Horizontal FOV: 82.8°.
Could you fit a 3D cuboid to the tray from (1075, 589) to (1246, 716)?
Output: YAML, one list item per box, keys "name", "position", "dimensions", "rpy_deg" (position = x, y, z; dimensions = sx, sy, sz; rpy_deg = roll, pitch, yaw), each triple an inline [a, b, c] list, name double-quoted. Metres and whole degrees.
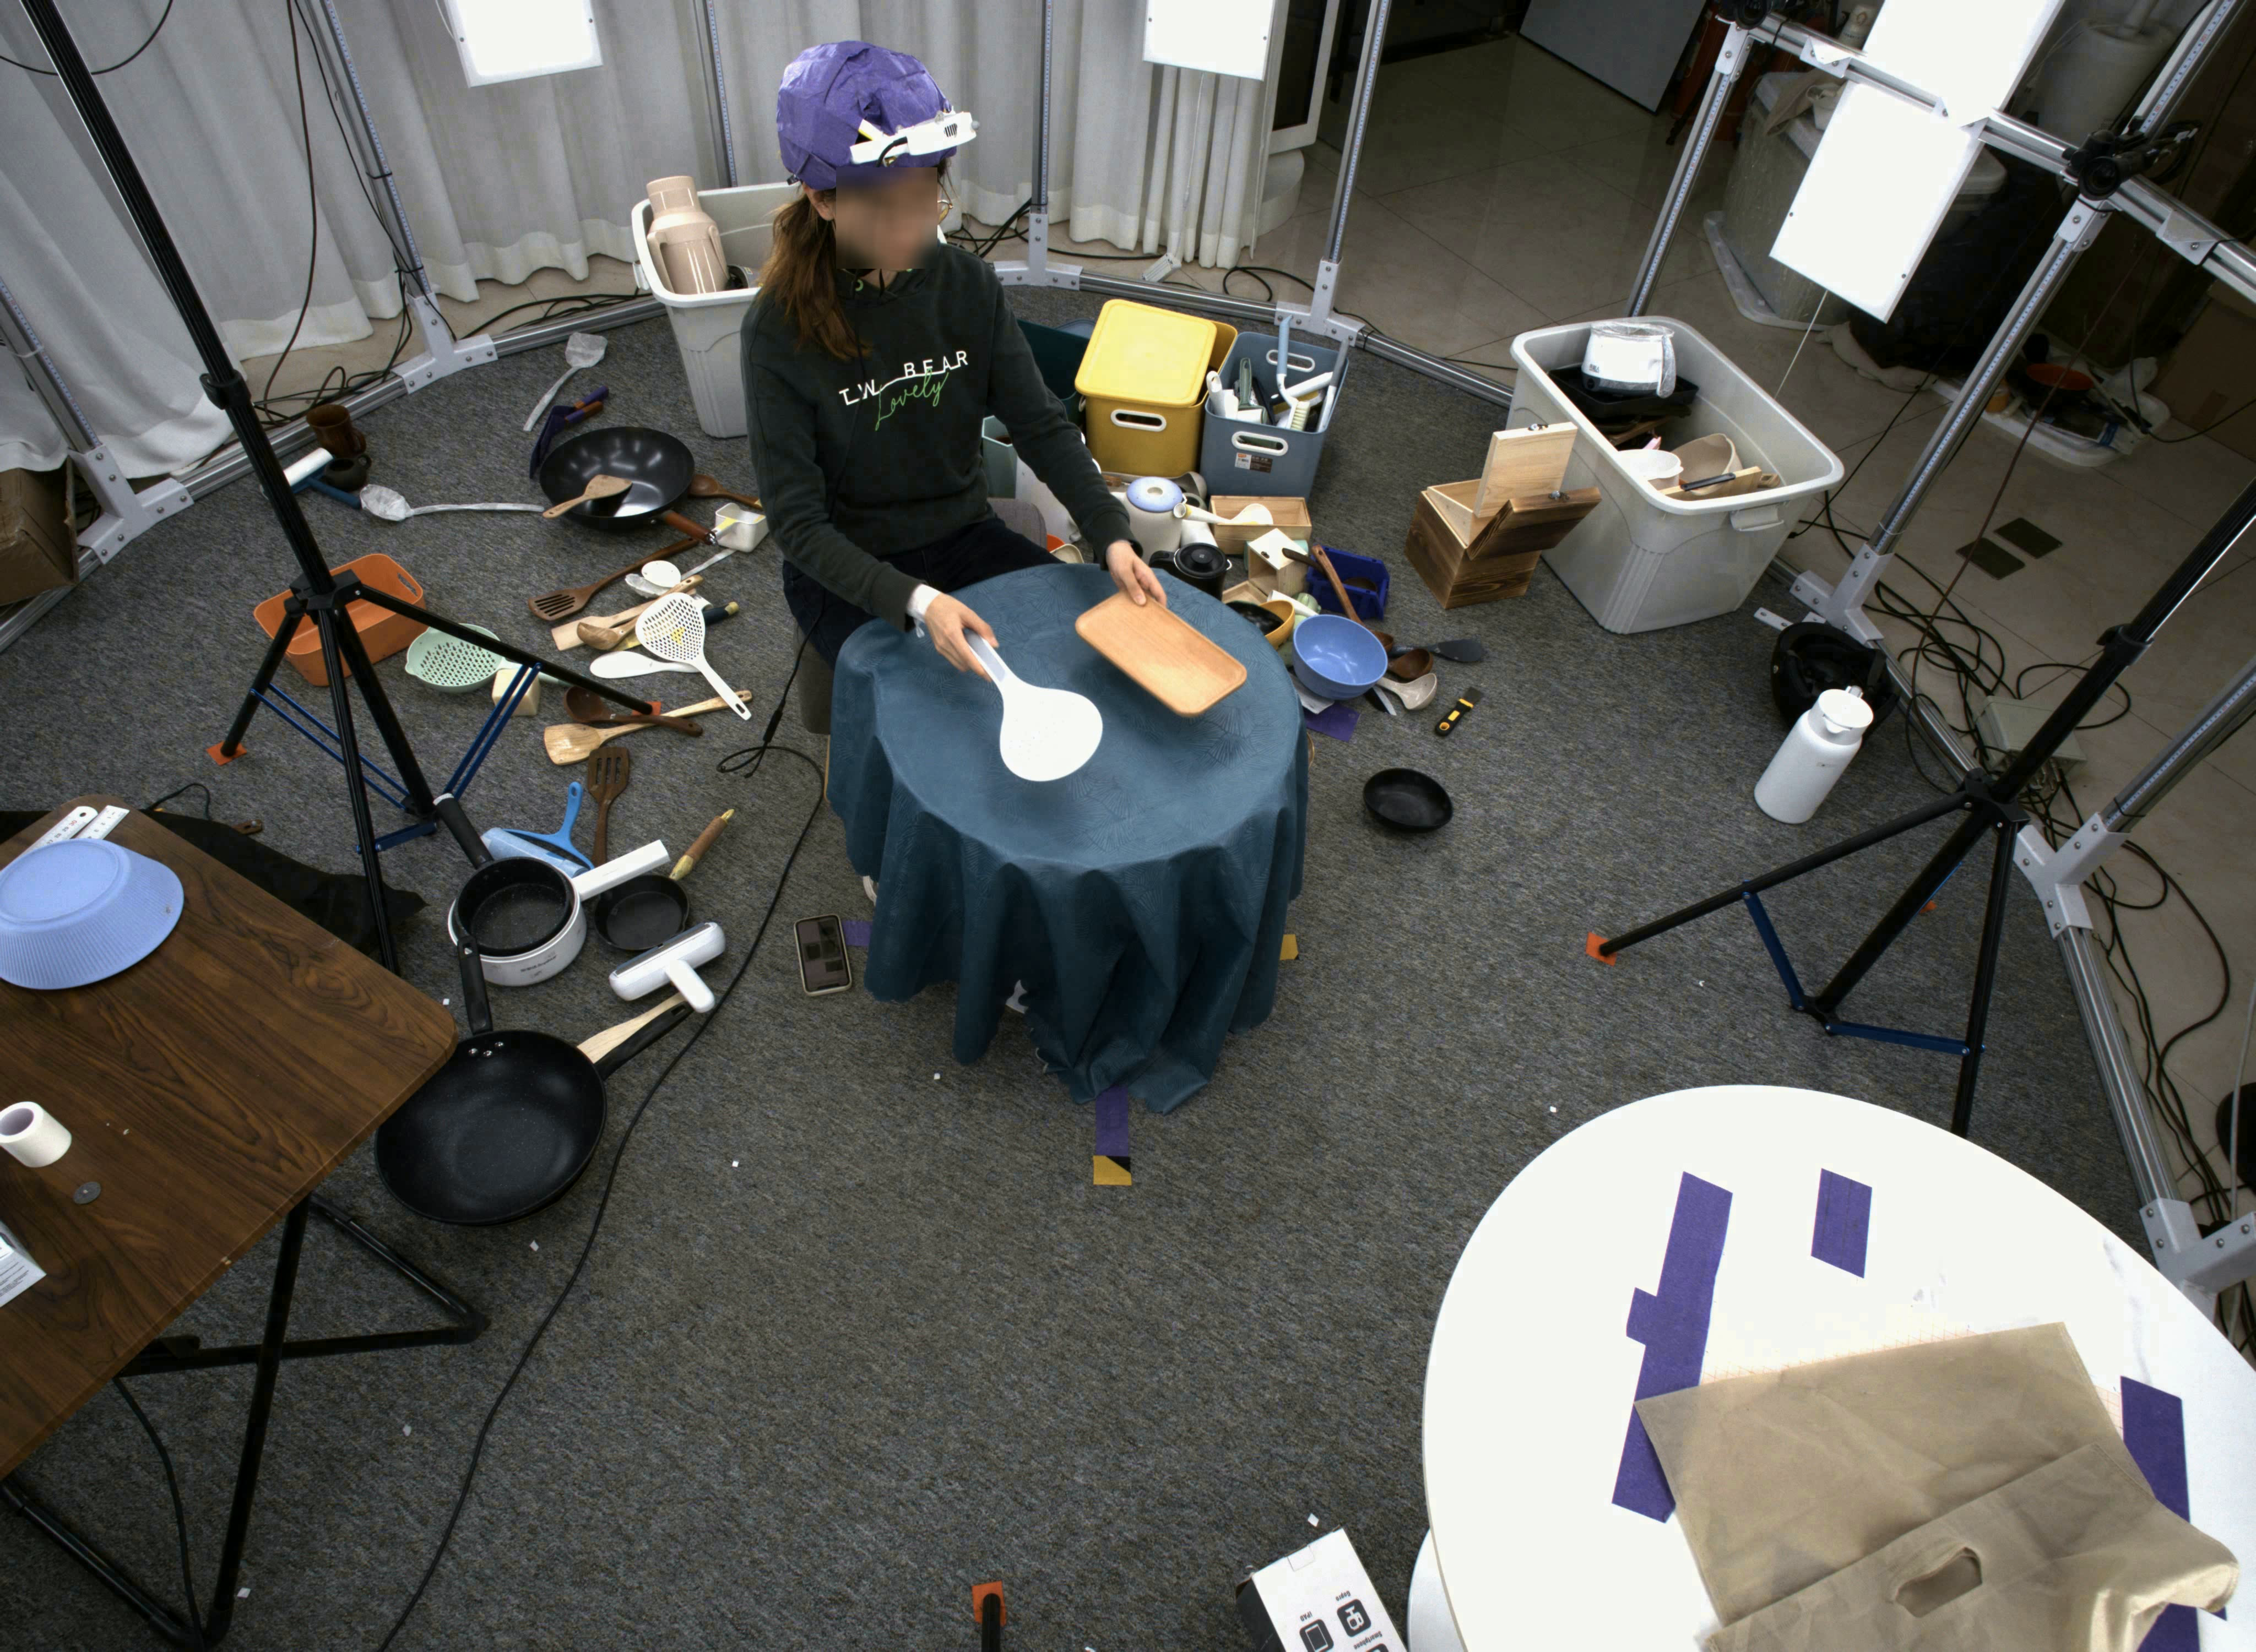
- name: "tray"
  position: [0.044, -0.246, 1.806]
  dimensions: [0.131, 0.022, 0.255]
  rpy_deg: [-33, 56, -26]

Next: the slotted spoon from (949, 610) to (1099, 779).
- name: "slotted spoon"
  position: [-0.155, -0.185, 1.723]
  dimensions: [0.136, 0.045, 0.357]
  rpy_deg: [-34, 58, -6]
